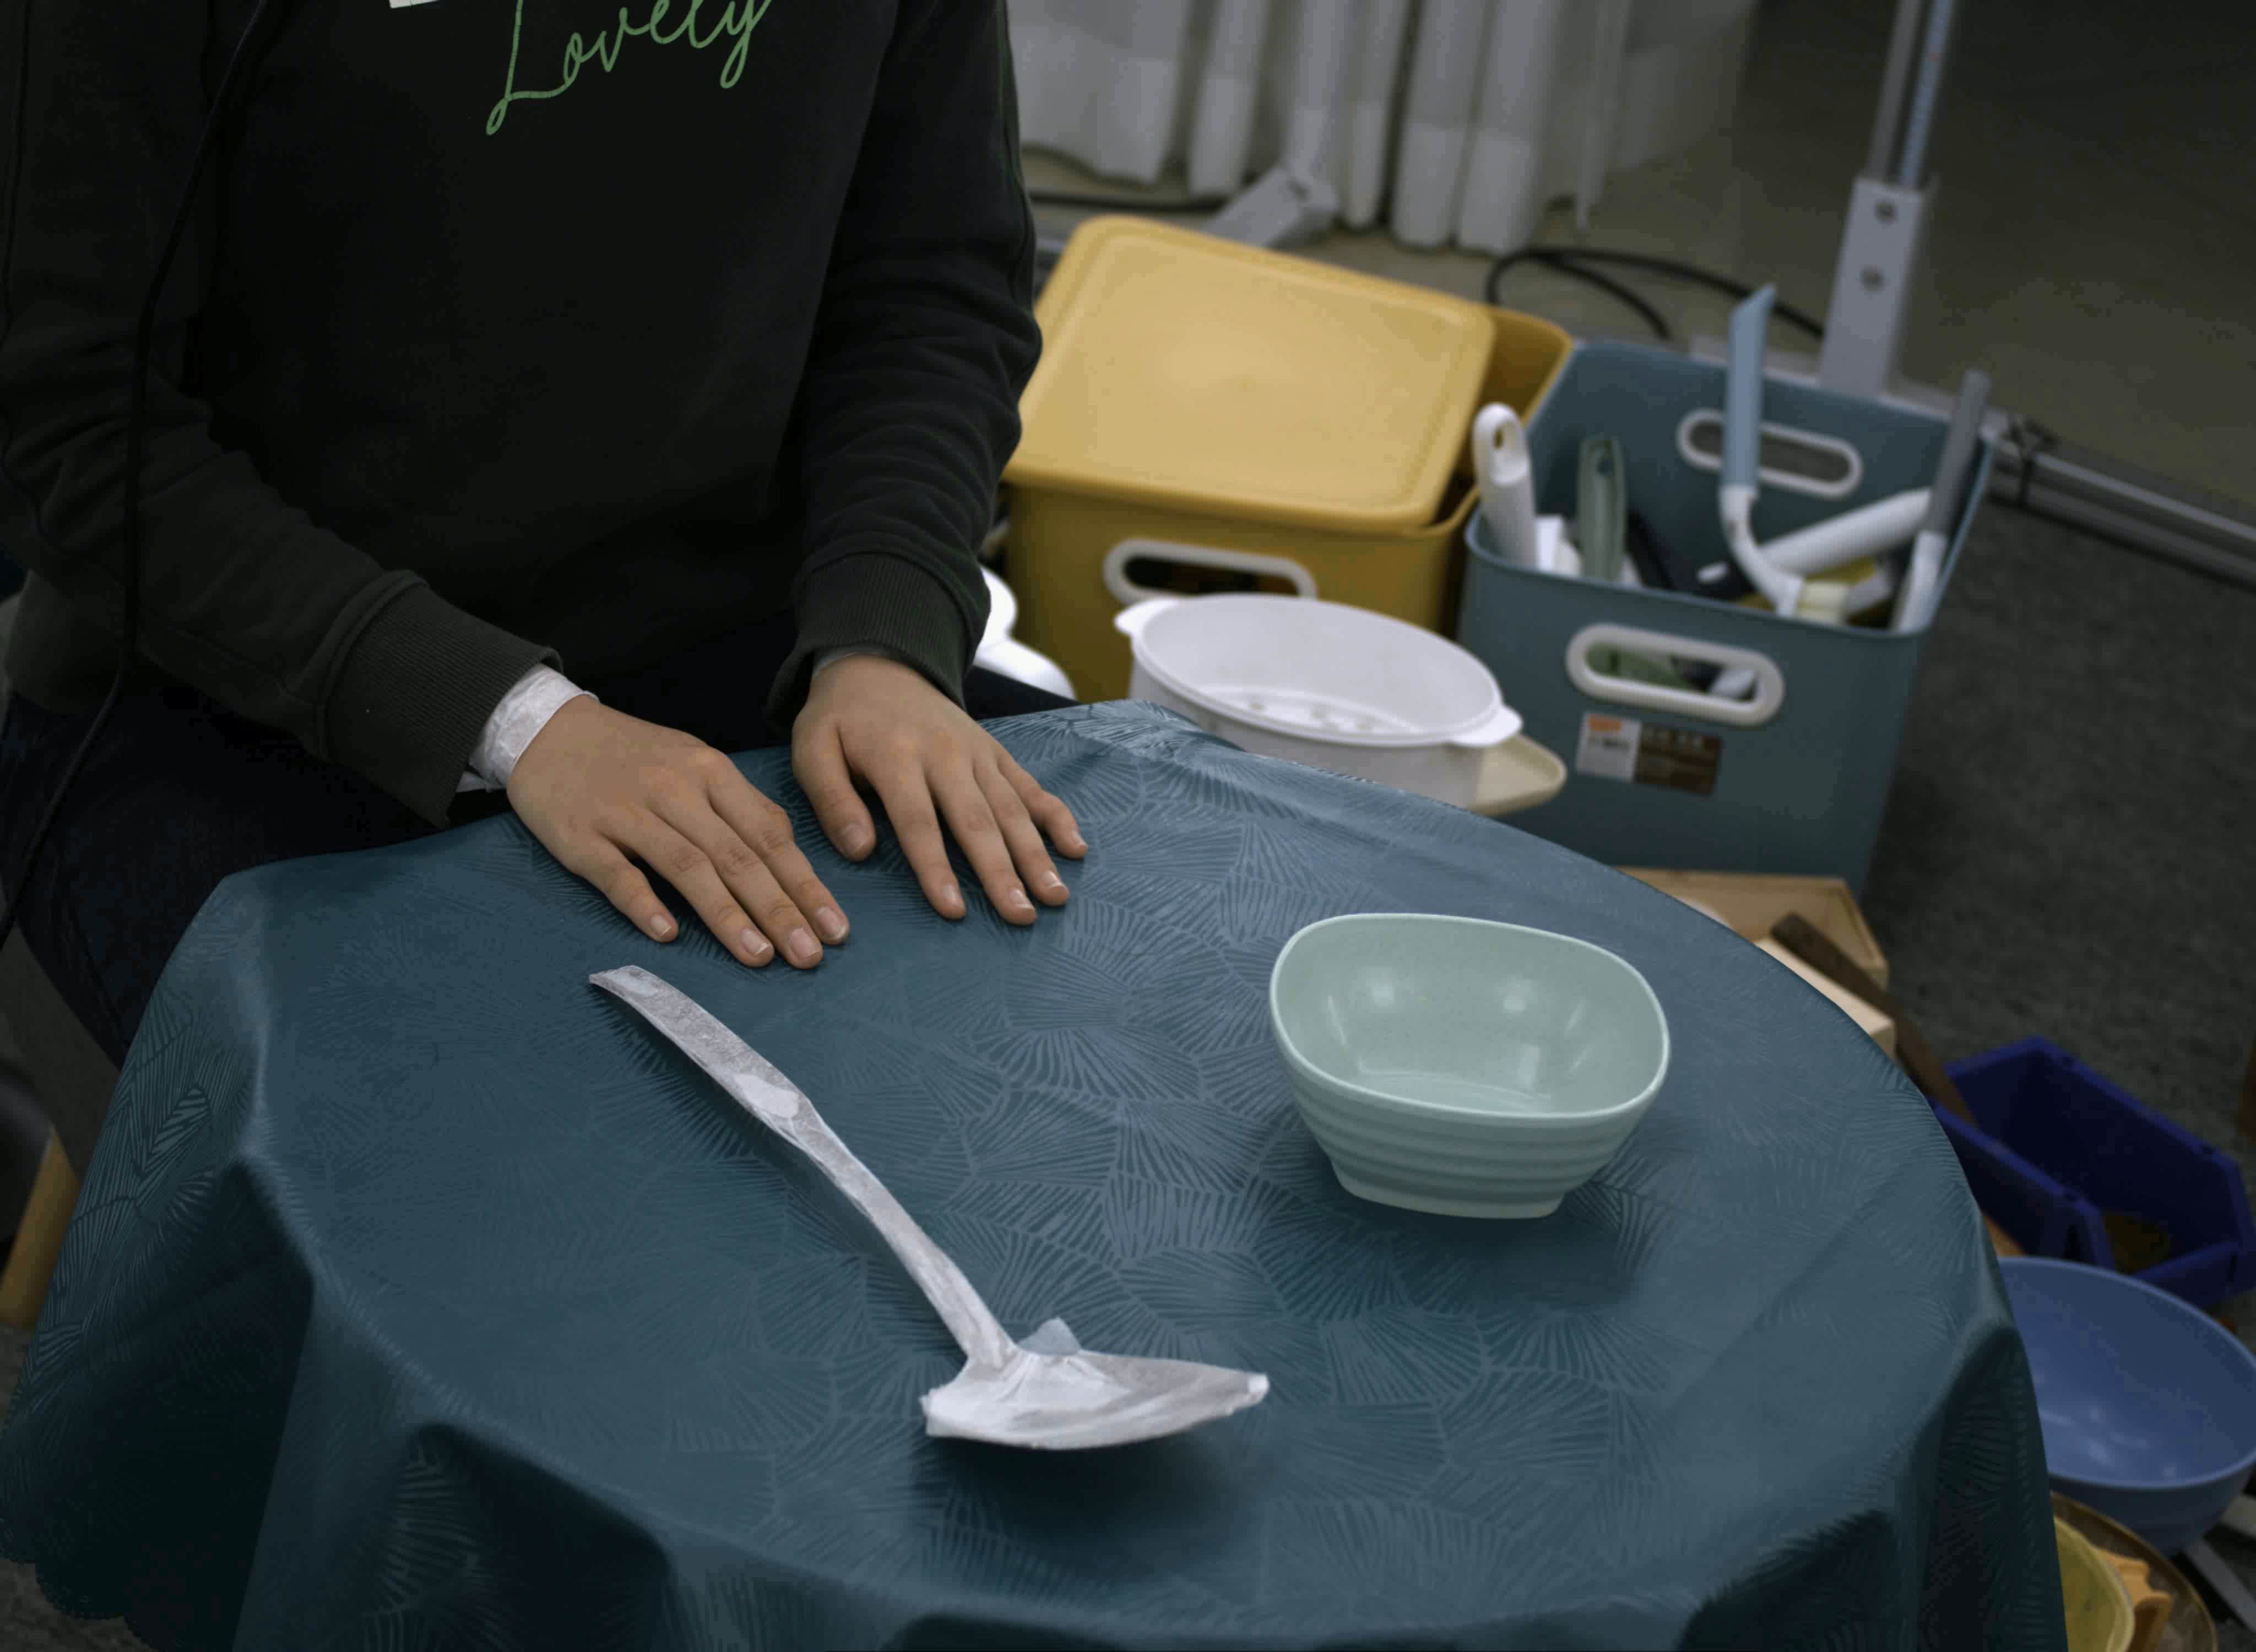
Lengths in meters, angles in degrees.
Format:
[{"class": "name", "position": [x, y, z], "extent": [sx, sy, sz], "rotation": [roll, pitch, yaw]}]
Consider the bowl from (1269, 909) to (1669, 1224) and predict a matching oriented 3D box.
[{"class": "bowl", "position": [0.113, 0.089, 1.833], "extent": [0.151, 0.058, 0.152], "rotation": [7, 28, -4]}]

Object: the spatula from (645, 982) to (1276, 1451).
[{"class": "spatula", "position": [-0.079, 0.120, 1.747], "extent": [0.098, 0.044, 0.368], "rotation": [-12, 32, -28]}]
